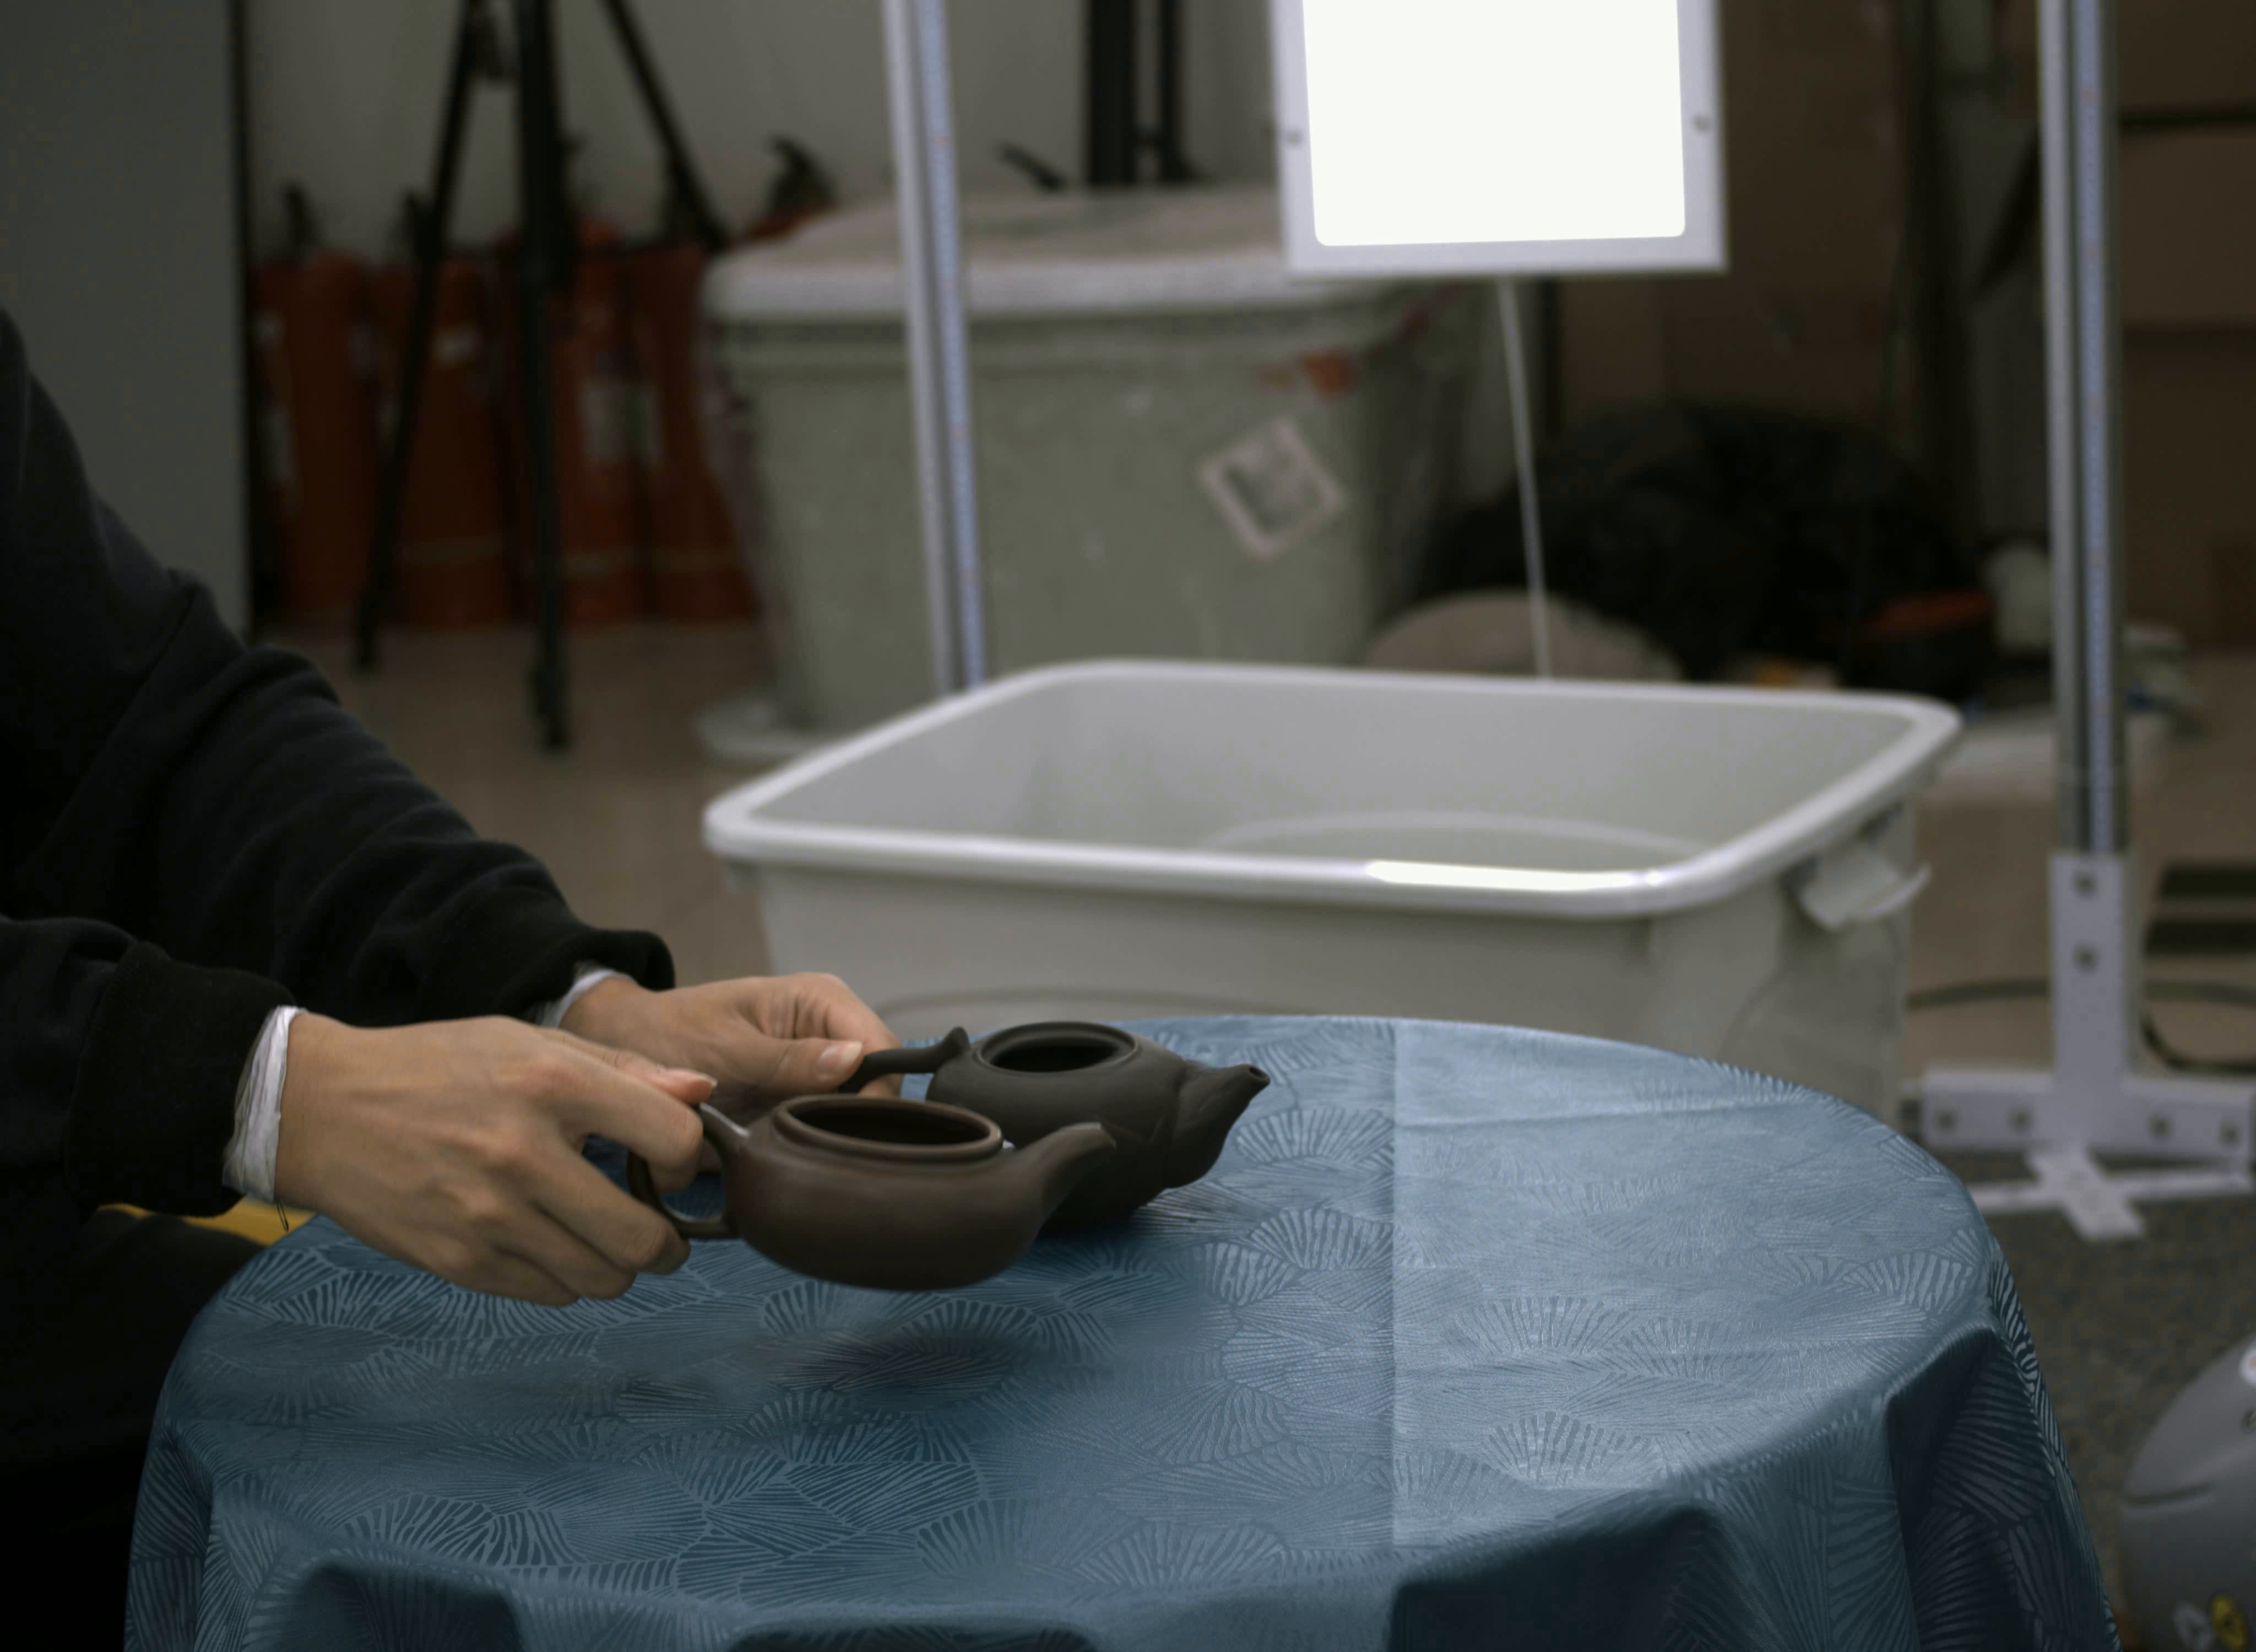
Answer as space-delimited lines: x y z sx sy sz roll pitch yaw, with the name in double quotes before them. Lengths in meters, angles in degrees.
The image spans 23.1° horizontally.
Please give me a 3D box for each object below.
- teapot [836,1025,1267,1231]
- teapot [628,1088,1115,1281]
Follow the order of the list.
"teapot" -0.027 0.101 1.878 0.156 0.064 0.091 2 14 18
"teapot" -0.081 0.110 1.736 0.151 0.054 0.103 5 8 -12
